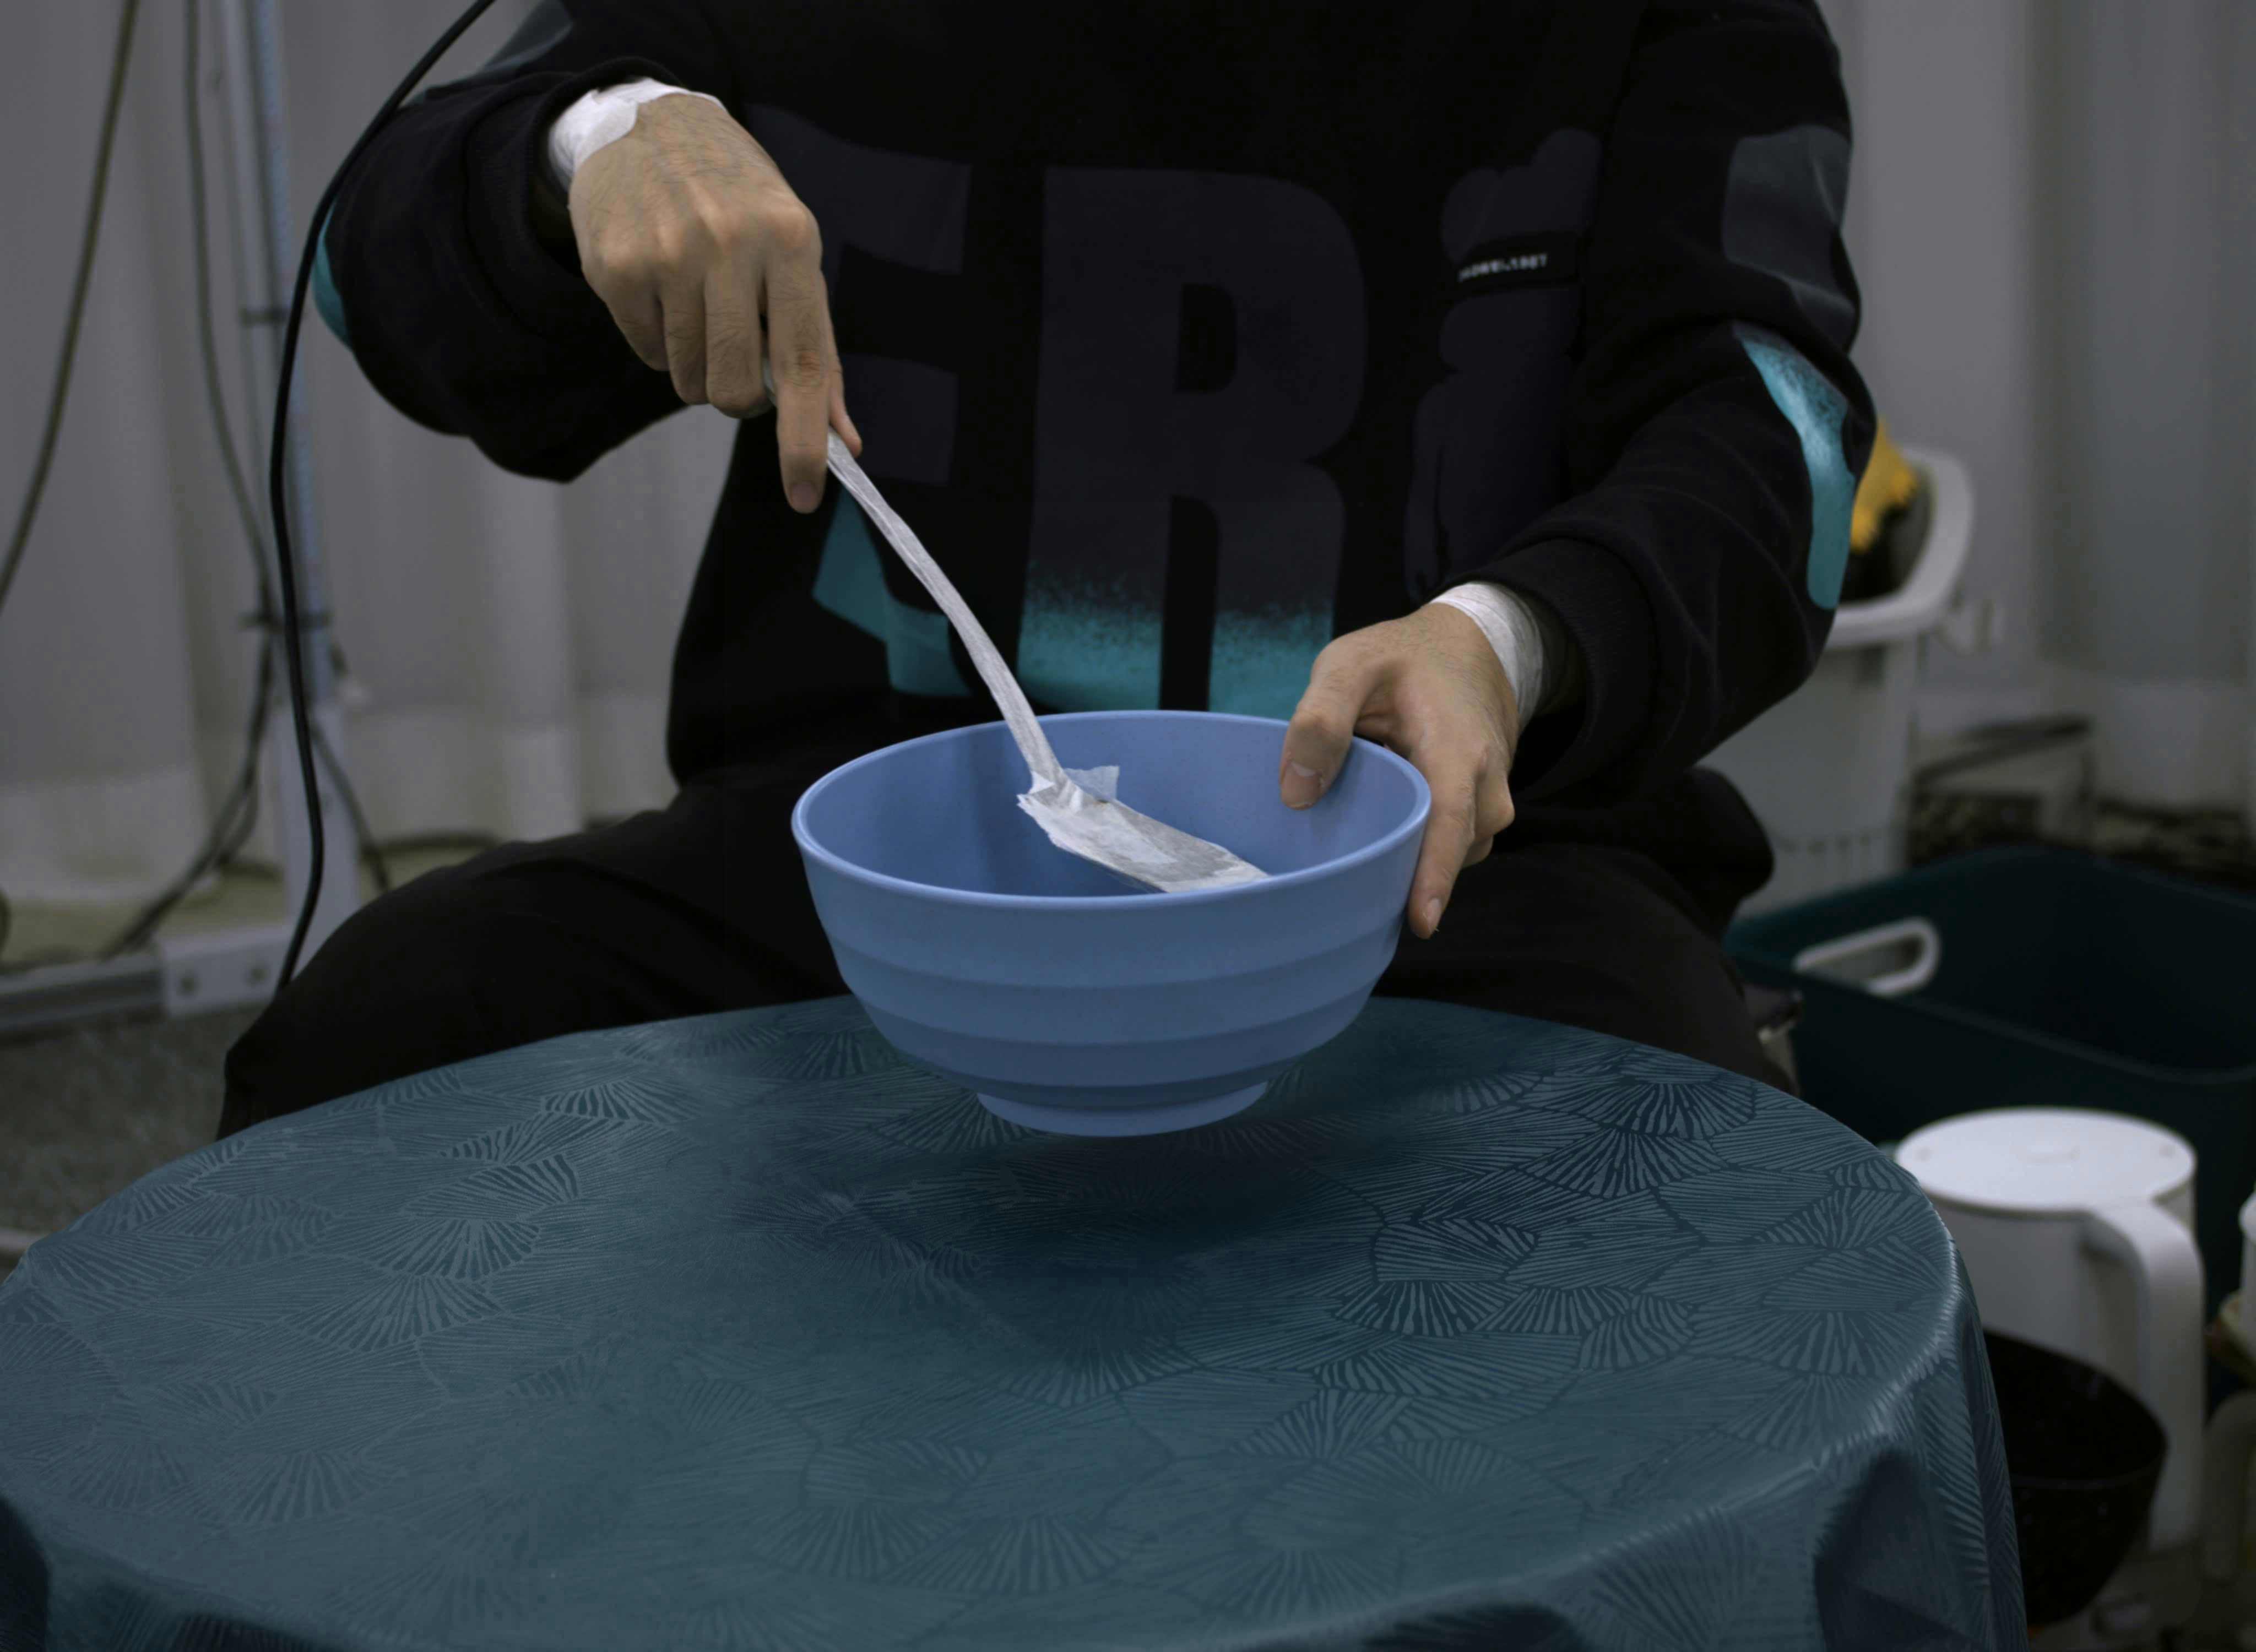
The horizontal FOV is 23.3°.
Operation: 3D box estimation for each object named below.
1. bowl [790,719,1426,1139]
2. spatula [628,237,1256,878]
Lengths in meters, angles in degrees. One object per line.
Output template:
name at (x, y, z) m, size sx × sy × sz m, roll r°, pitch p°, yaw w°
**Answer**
bowl at (-0.004, 0.037, 1.691) m, size 0.196 × 0.095 × 0.198 m, roll -3°, pitch 16°, yaw 1°
spatula at (-0.059, -0.084, 1.768) m, size 0.098 × 0.044 × 0.369 m, roll 4°, pitch 43°, yaw -55°
